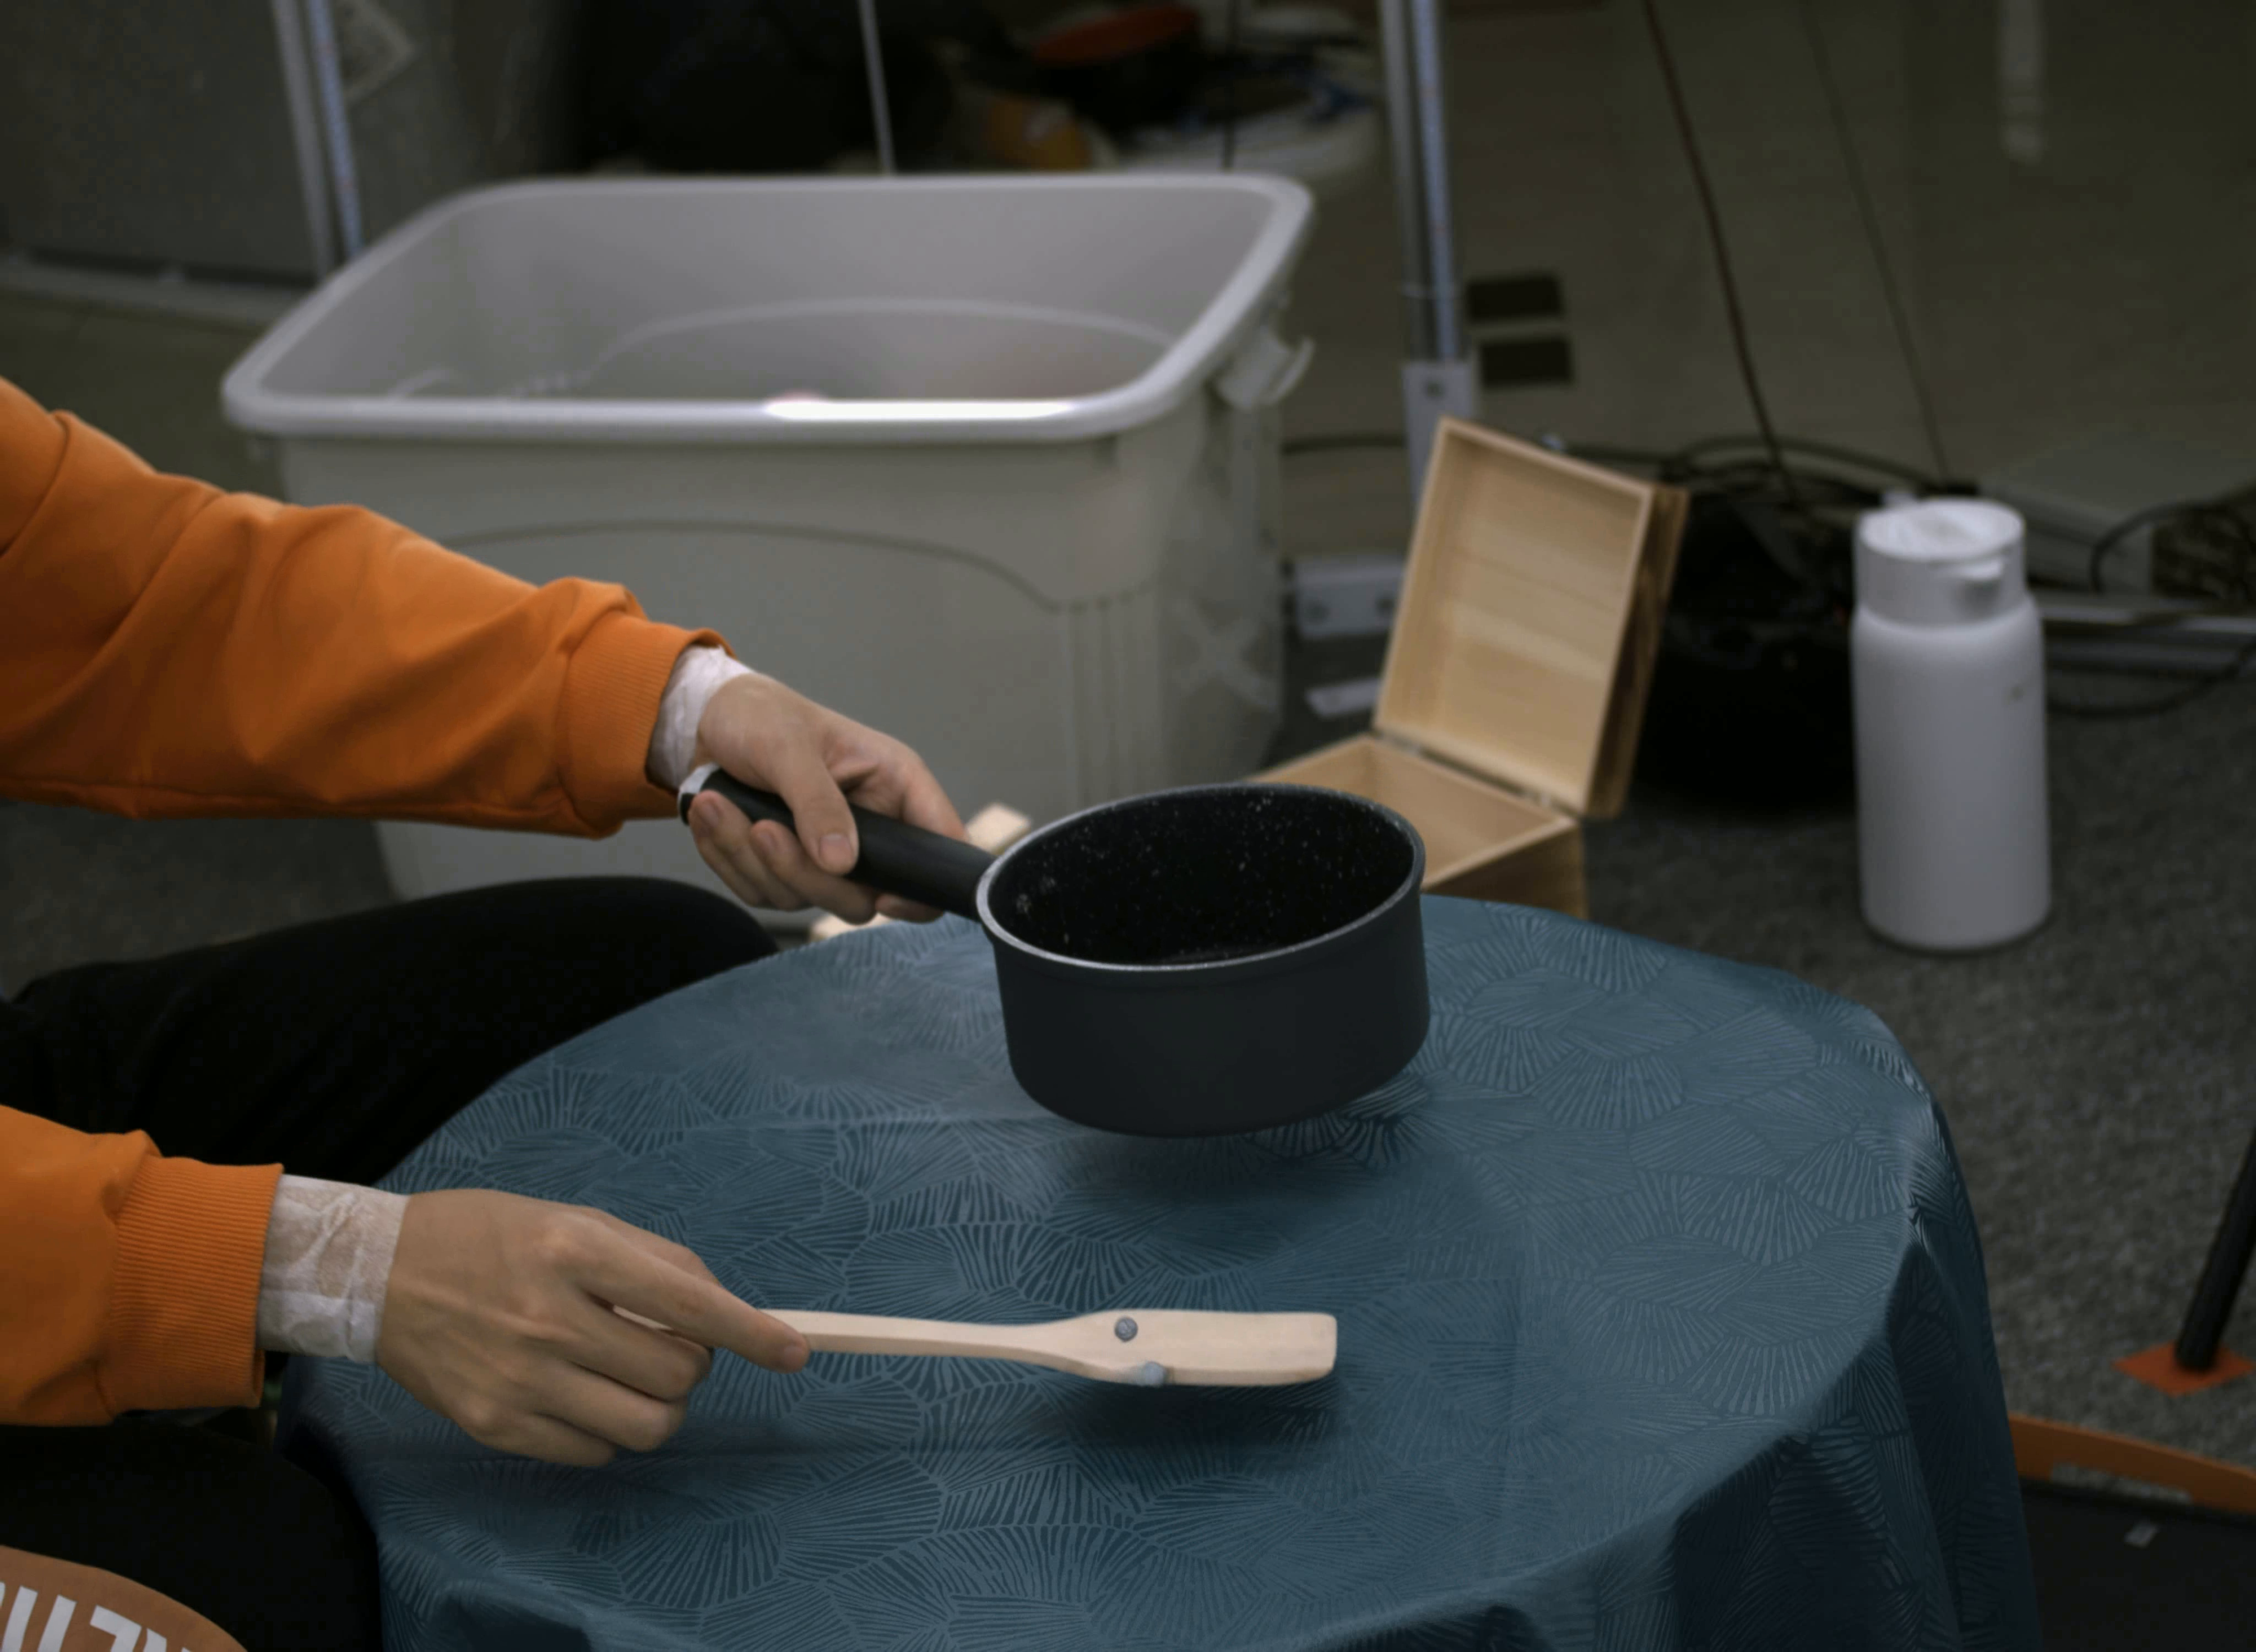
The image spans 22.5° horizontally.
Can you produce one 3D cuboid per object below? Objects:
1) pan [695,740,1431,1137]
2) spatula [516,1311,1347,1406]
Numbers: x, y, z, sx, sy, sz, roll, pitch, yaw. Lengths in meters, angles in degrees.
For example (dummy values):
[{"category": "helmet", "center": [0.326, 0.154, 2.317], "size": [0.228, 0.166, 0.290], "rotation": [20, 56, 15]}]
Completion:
[{"category": "pan", "center": [-0.033, 0.035, 2.205], "size": [0.327, 0.088, 0.170], "rotation": [12, 30, 34]}, {"category": "spatula", "center": [-0.069, 0.185, 1.993], "size": [0.292, 0.011, 0.071], "rotation": [2, 14, 2]}]
